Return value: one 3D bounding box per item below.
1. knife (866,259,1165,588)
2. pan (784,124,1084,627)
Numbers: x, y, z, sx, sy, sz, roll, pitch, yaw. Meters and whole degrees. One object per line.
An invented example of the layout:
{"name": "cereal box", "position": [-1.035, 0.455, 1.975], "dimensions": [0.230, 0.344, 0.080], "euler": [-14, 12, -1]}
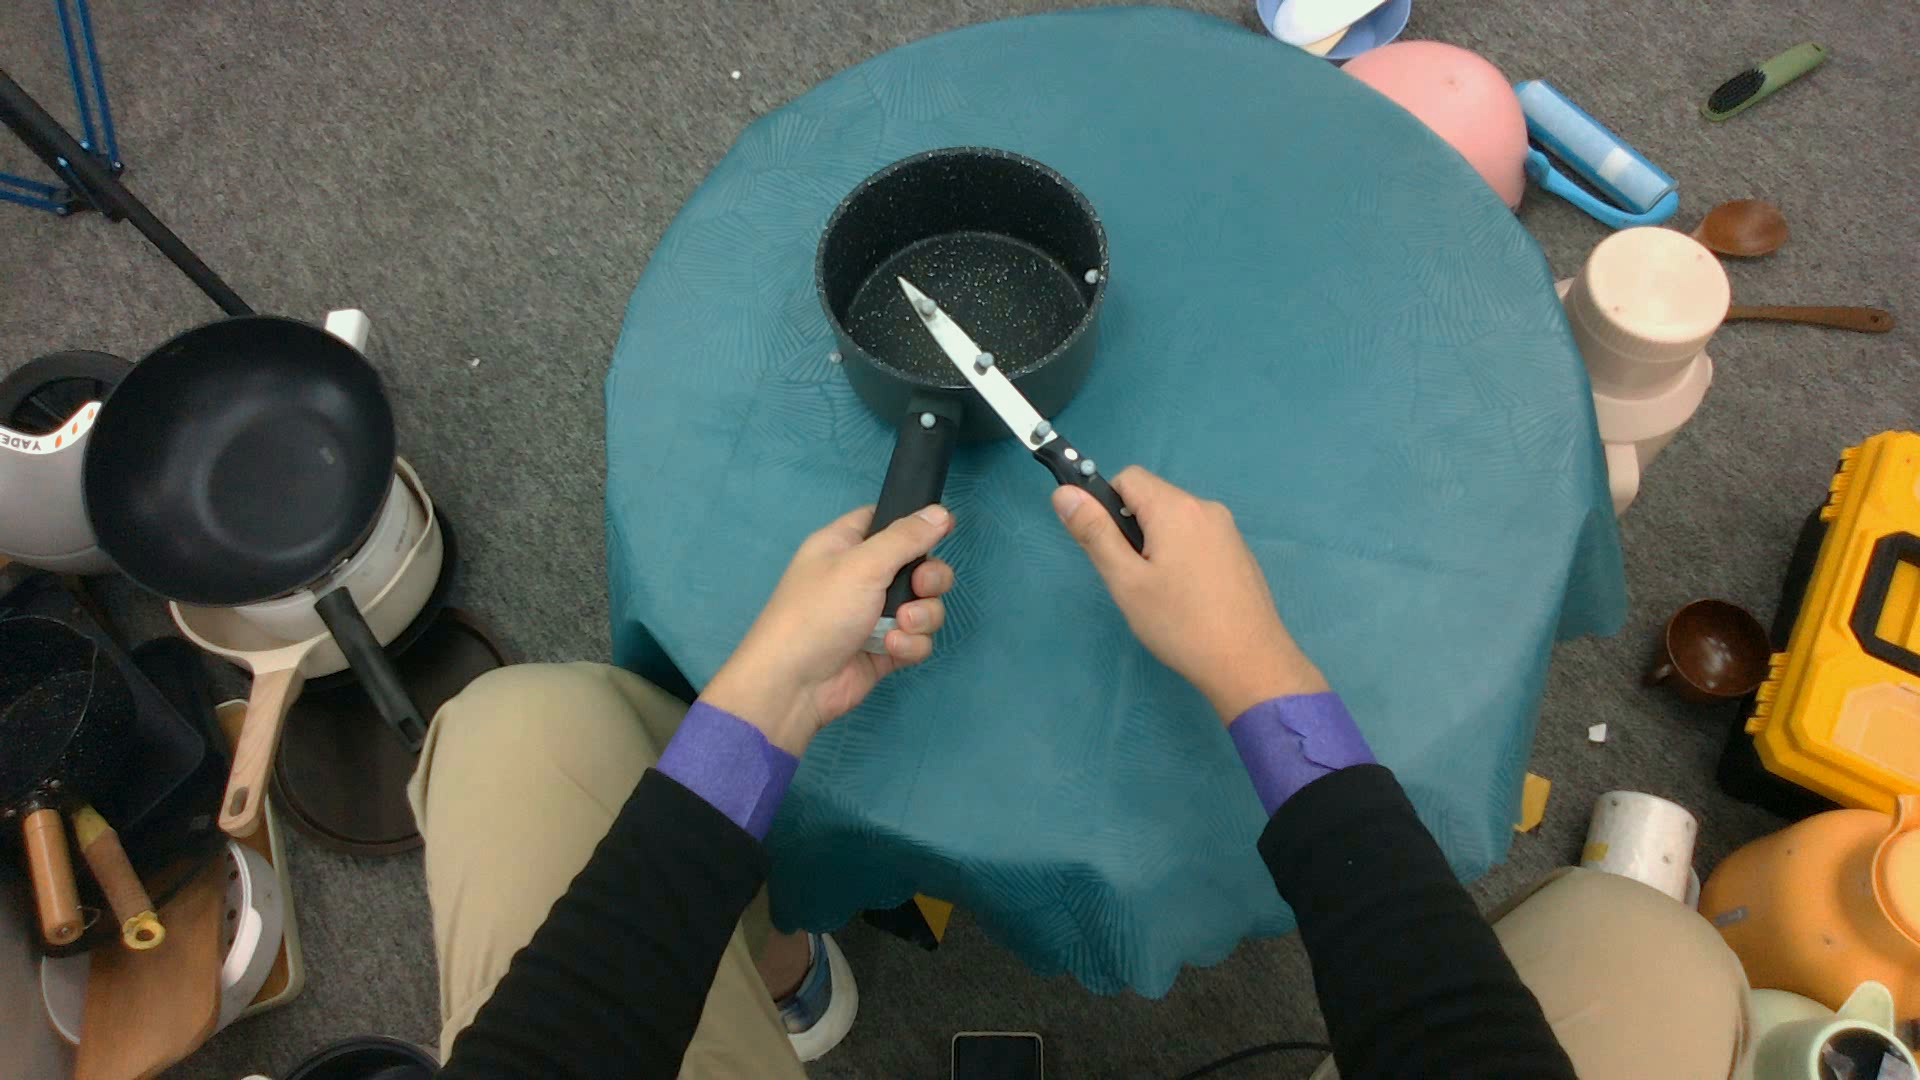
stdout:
{"name": "knife", "position": [0.028, -0.068, 0.734], "dimensions": [0.024, 0.016, 0.238], "euler": [-32, 76, -39]}
{"name": "pan", "position": [-0.031, -0.089, 0.789], "dimensions": [0.172, 0.086, 0.330], "euler": [11, 64, 8]}
